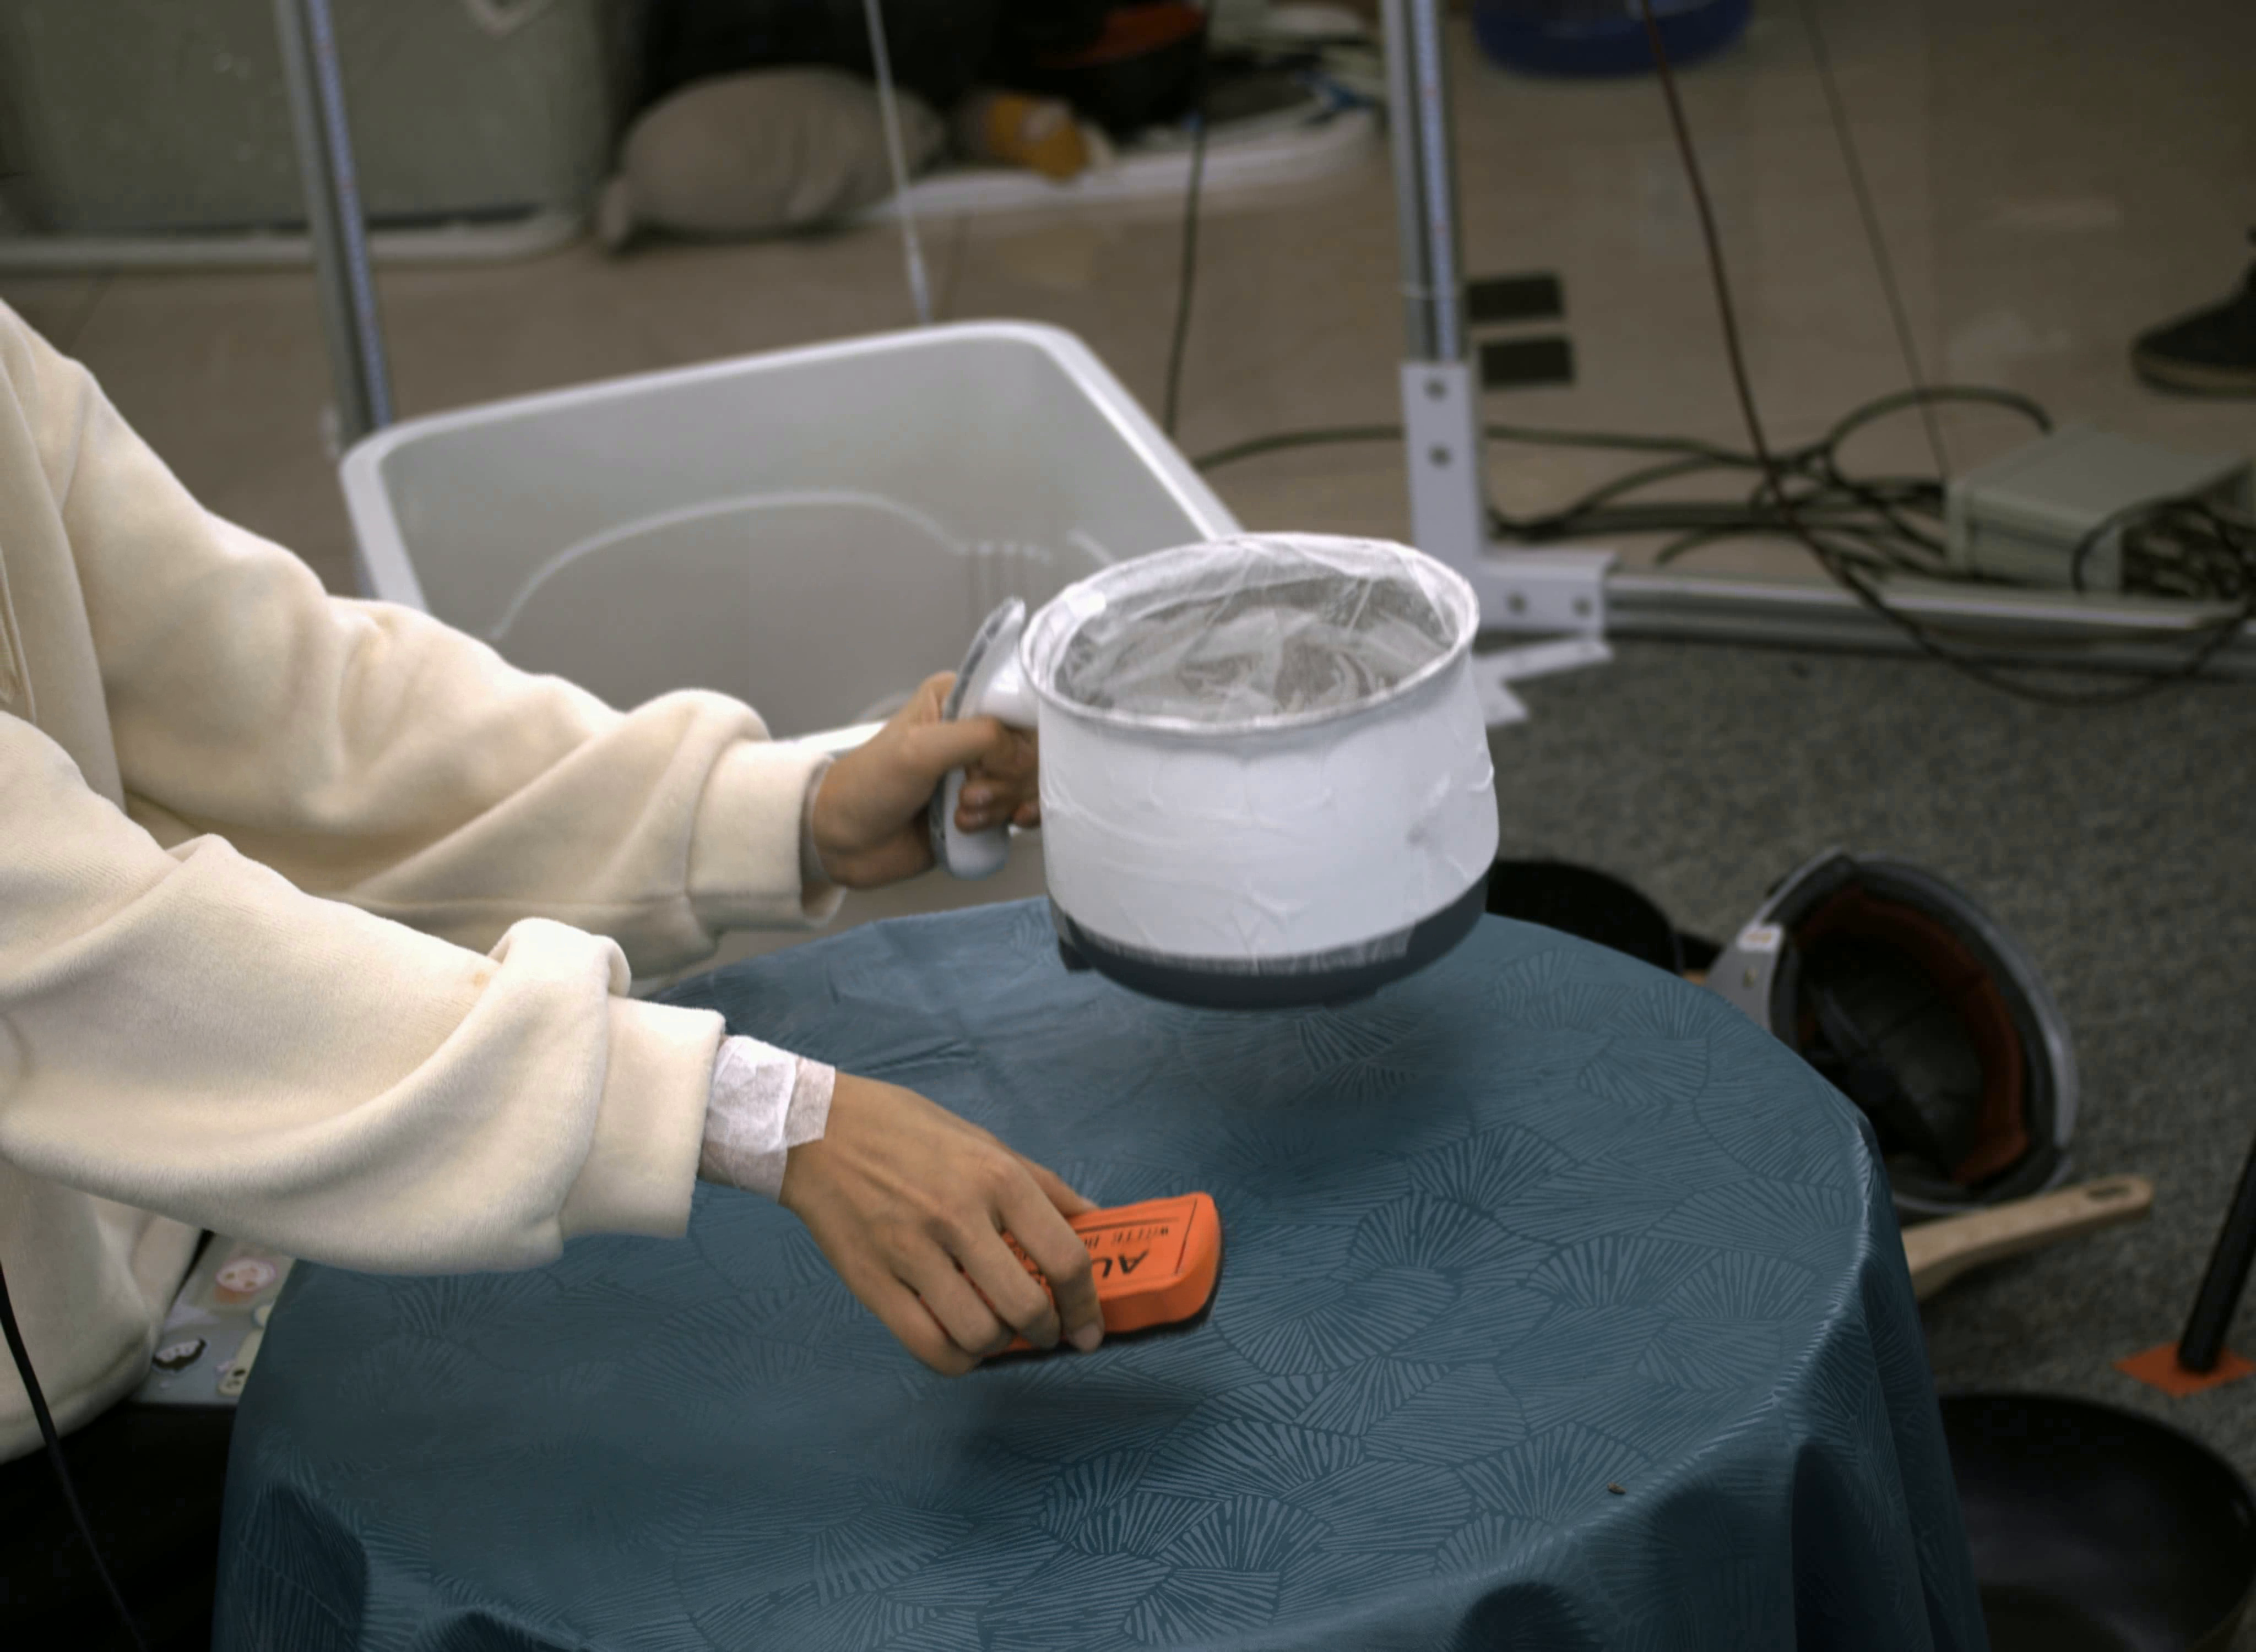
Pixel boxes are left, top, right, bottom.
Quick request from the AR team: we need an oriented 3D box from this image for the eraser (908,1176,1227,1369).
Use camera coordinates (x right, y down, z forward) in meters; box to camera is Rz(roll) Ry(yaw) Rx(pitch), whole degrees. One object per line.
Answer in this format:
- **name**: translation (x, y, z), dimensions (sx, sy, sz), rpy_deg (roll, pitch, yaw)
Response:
- **eraser**: translation (-0.021, 0.157, 1.994), dimensions (0.108, 0.023, 0.058), rpy_deg (-13, 31, 22)

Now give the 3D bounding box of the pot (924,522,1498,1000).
- **pot**: translation (0.027, -0.026, 2.189), dimensions (0.233, 0.139, 0.176), rpy_deg (6, 29, 21)
